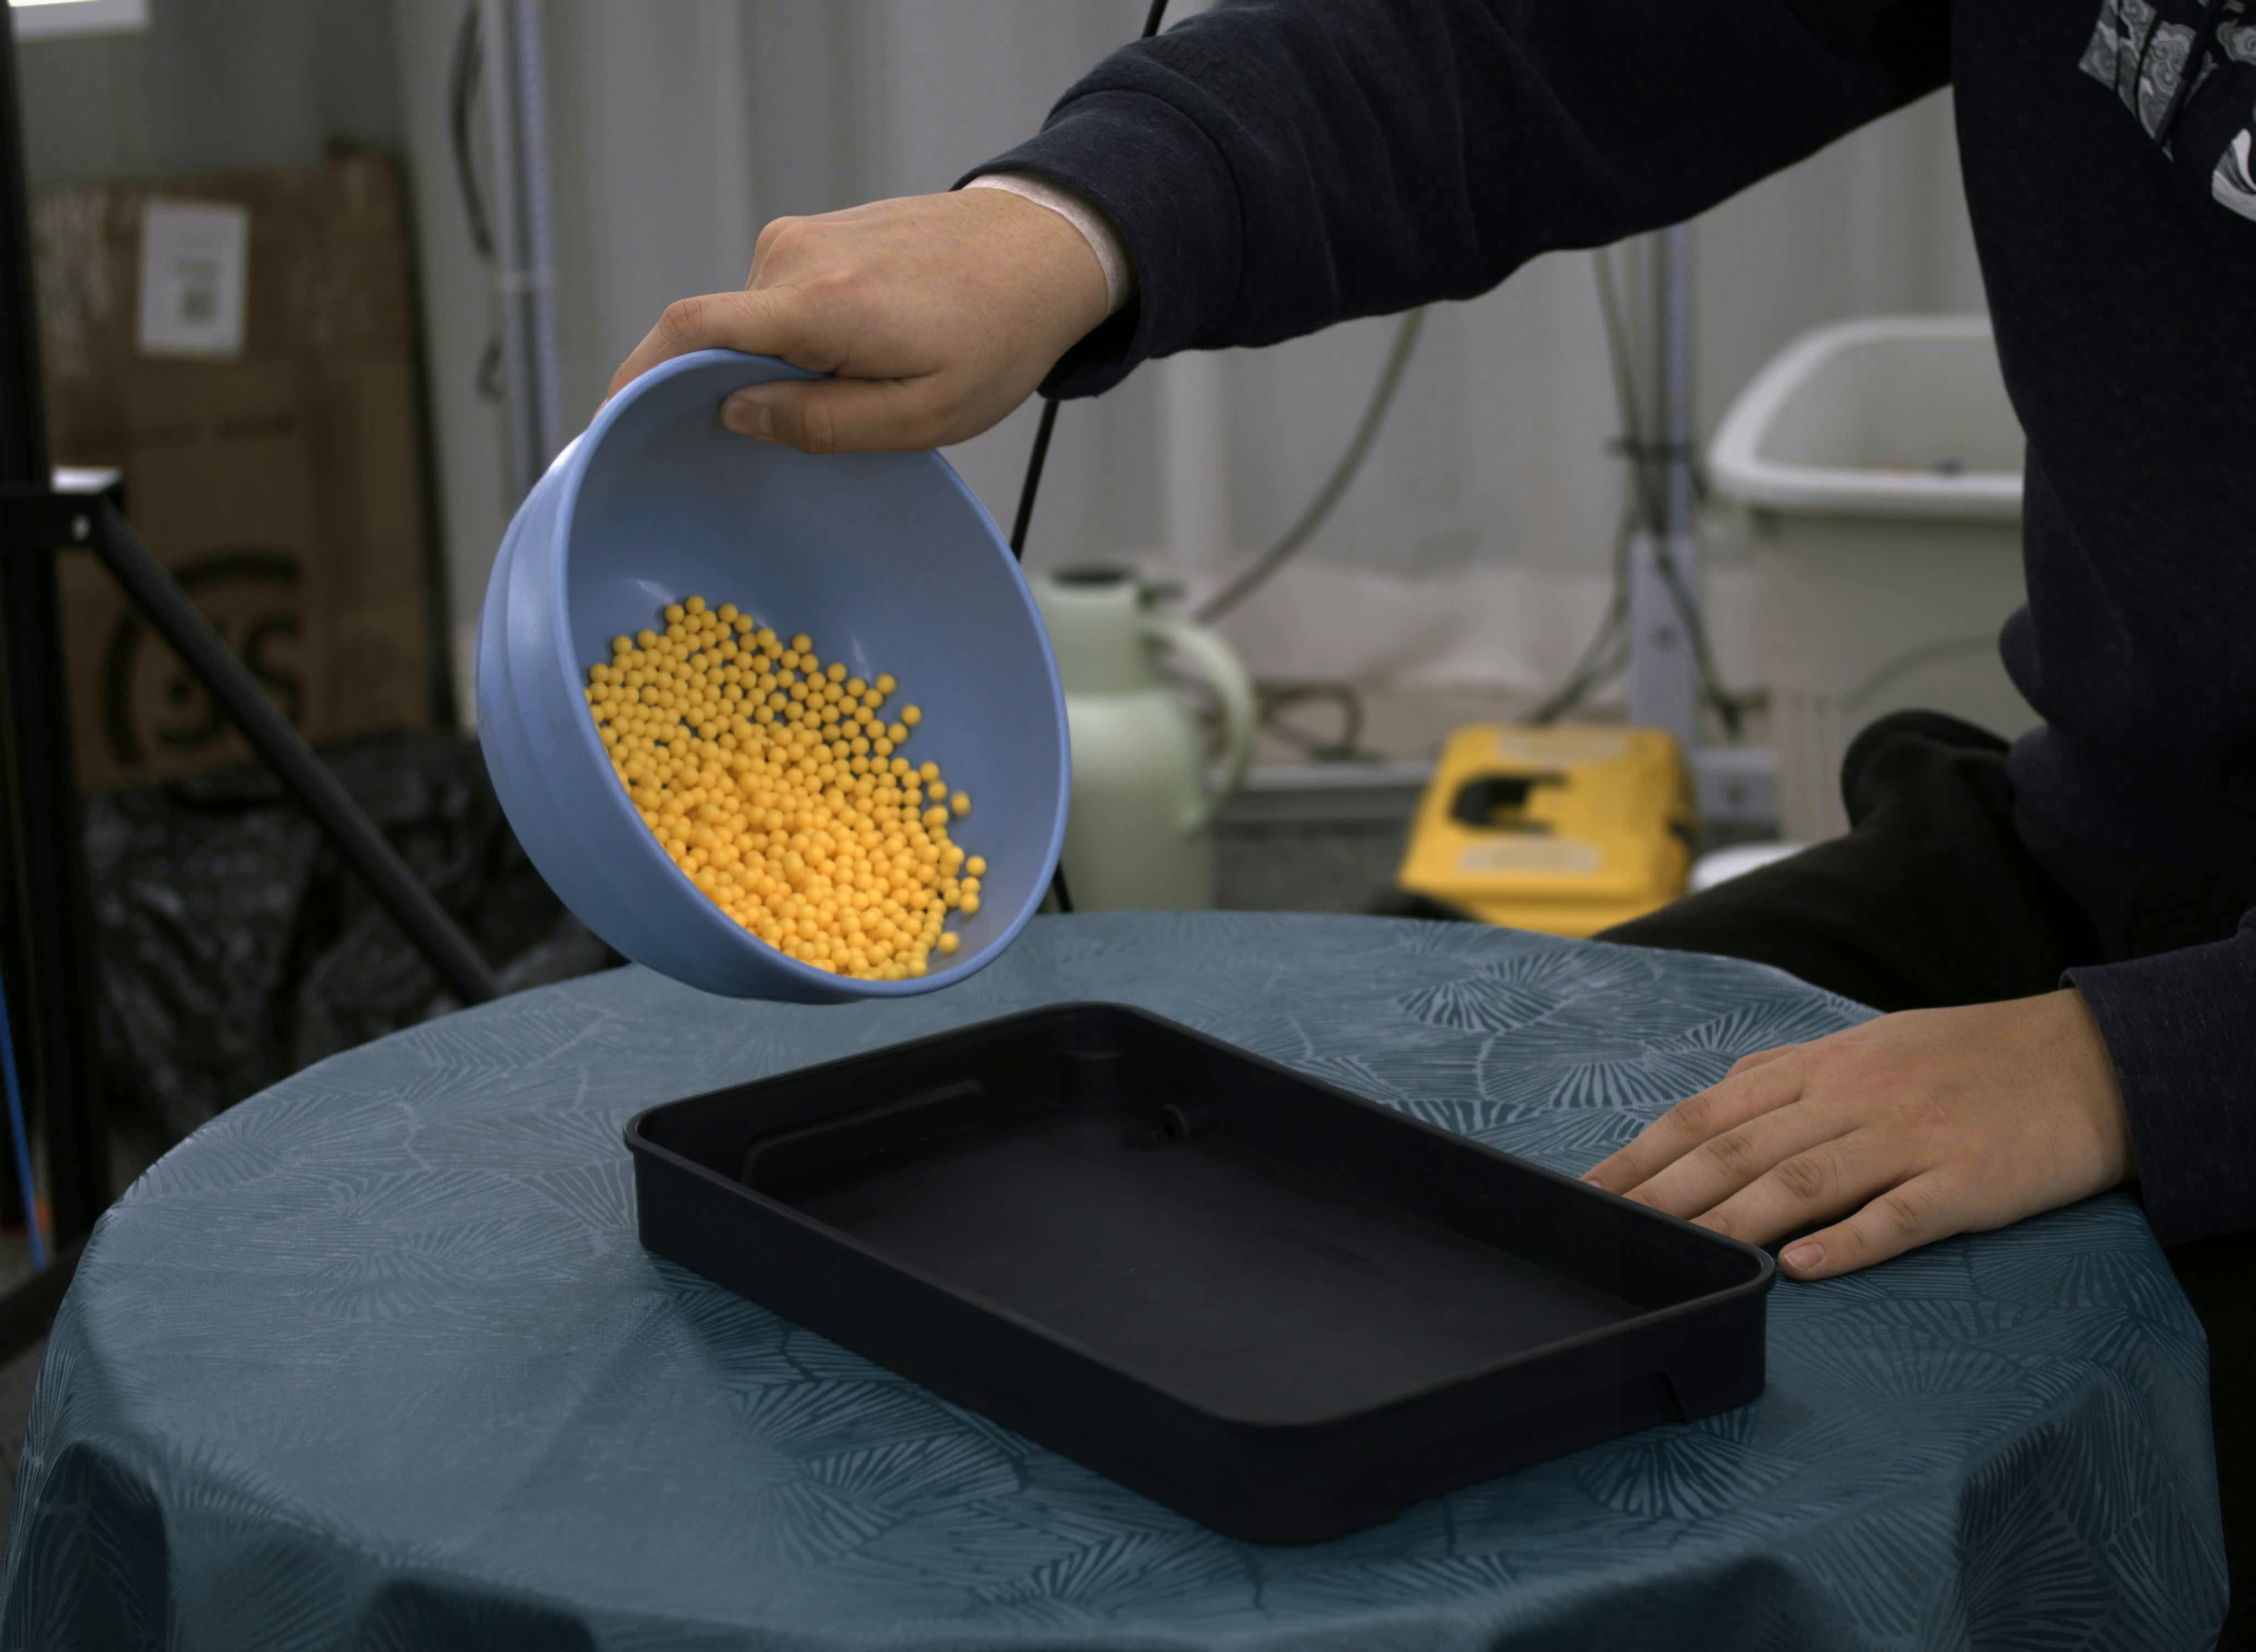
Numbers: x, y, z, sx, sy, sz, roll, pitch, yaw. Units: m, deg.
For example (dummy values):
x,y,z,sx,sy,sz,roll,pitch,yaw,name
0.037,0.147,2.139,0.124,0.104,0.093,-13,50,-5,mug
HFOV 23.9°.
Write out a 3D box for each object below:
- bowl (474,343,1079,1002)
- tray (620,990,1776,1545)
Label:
x,y,z,sx,sy,sz,roll,pitch,yaw,name
-0.117,-0.032,1.555,0.192,0.198,0.097,-19,-6,-47,bowl
0.013,0.114,1.462,0.180,0.037,0.325,-13,19,-33,tray
